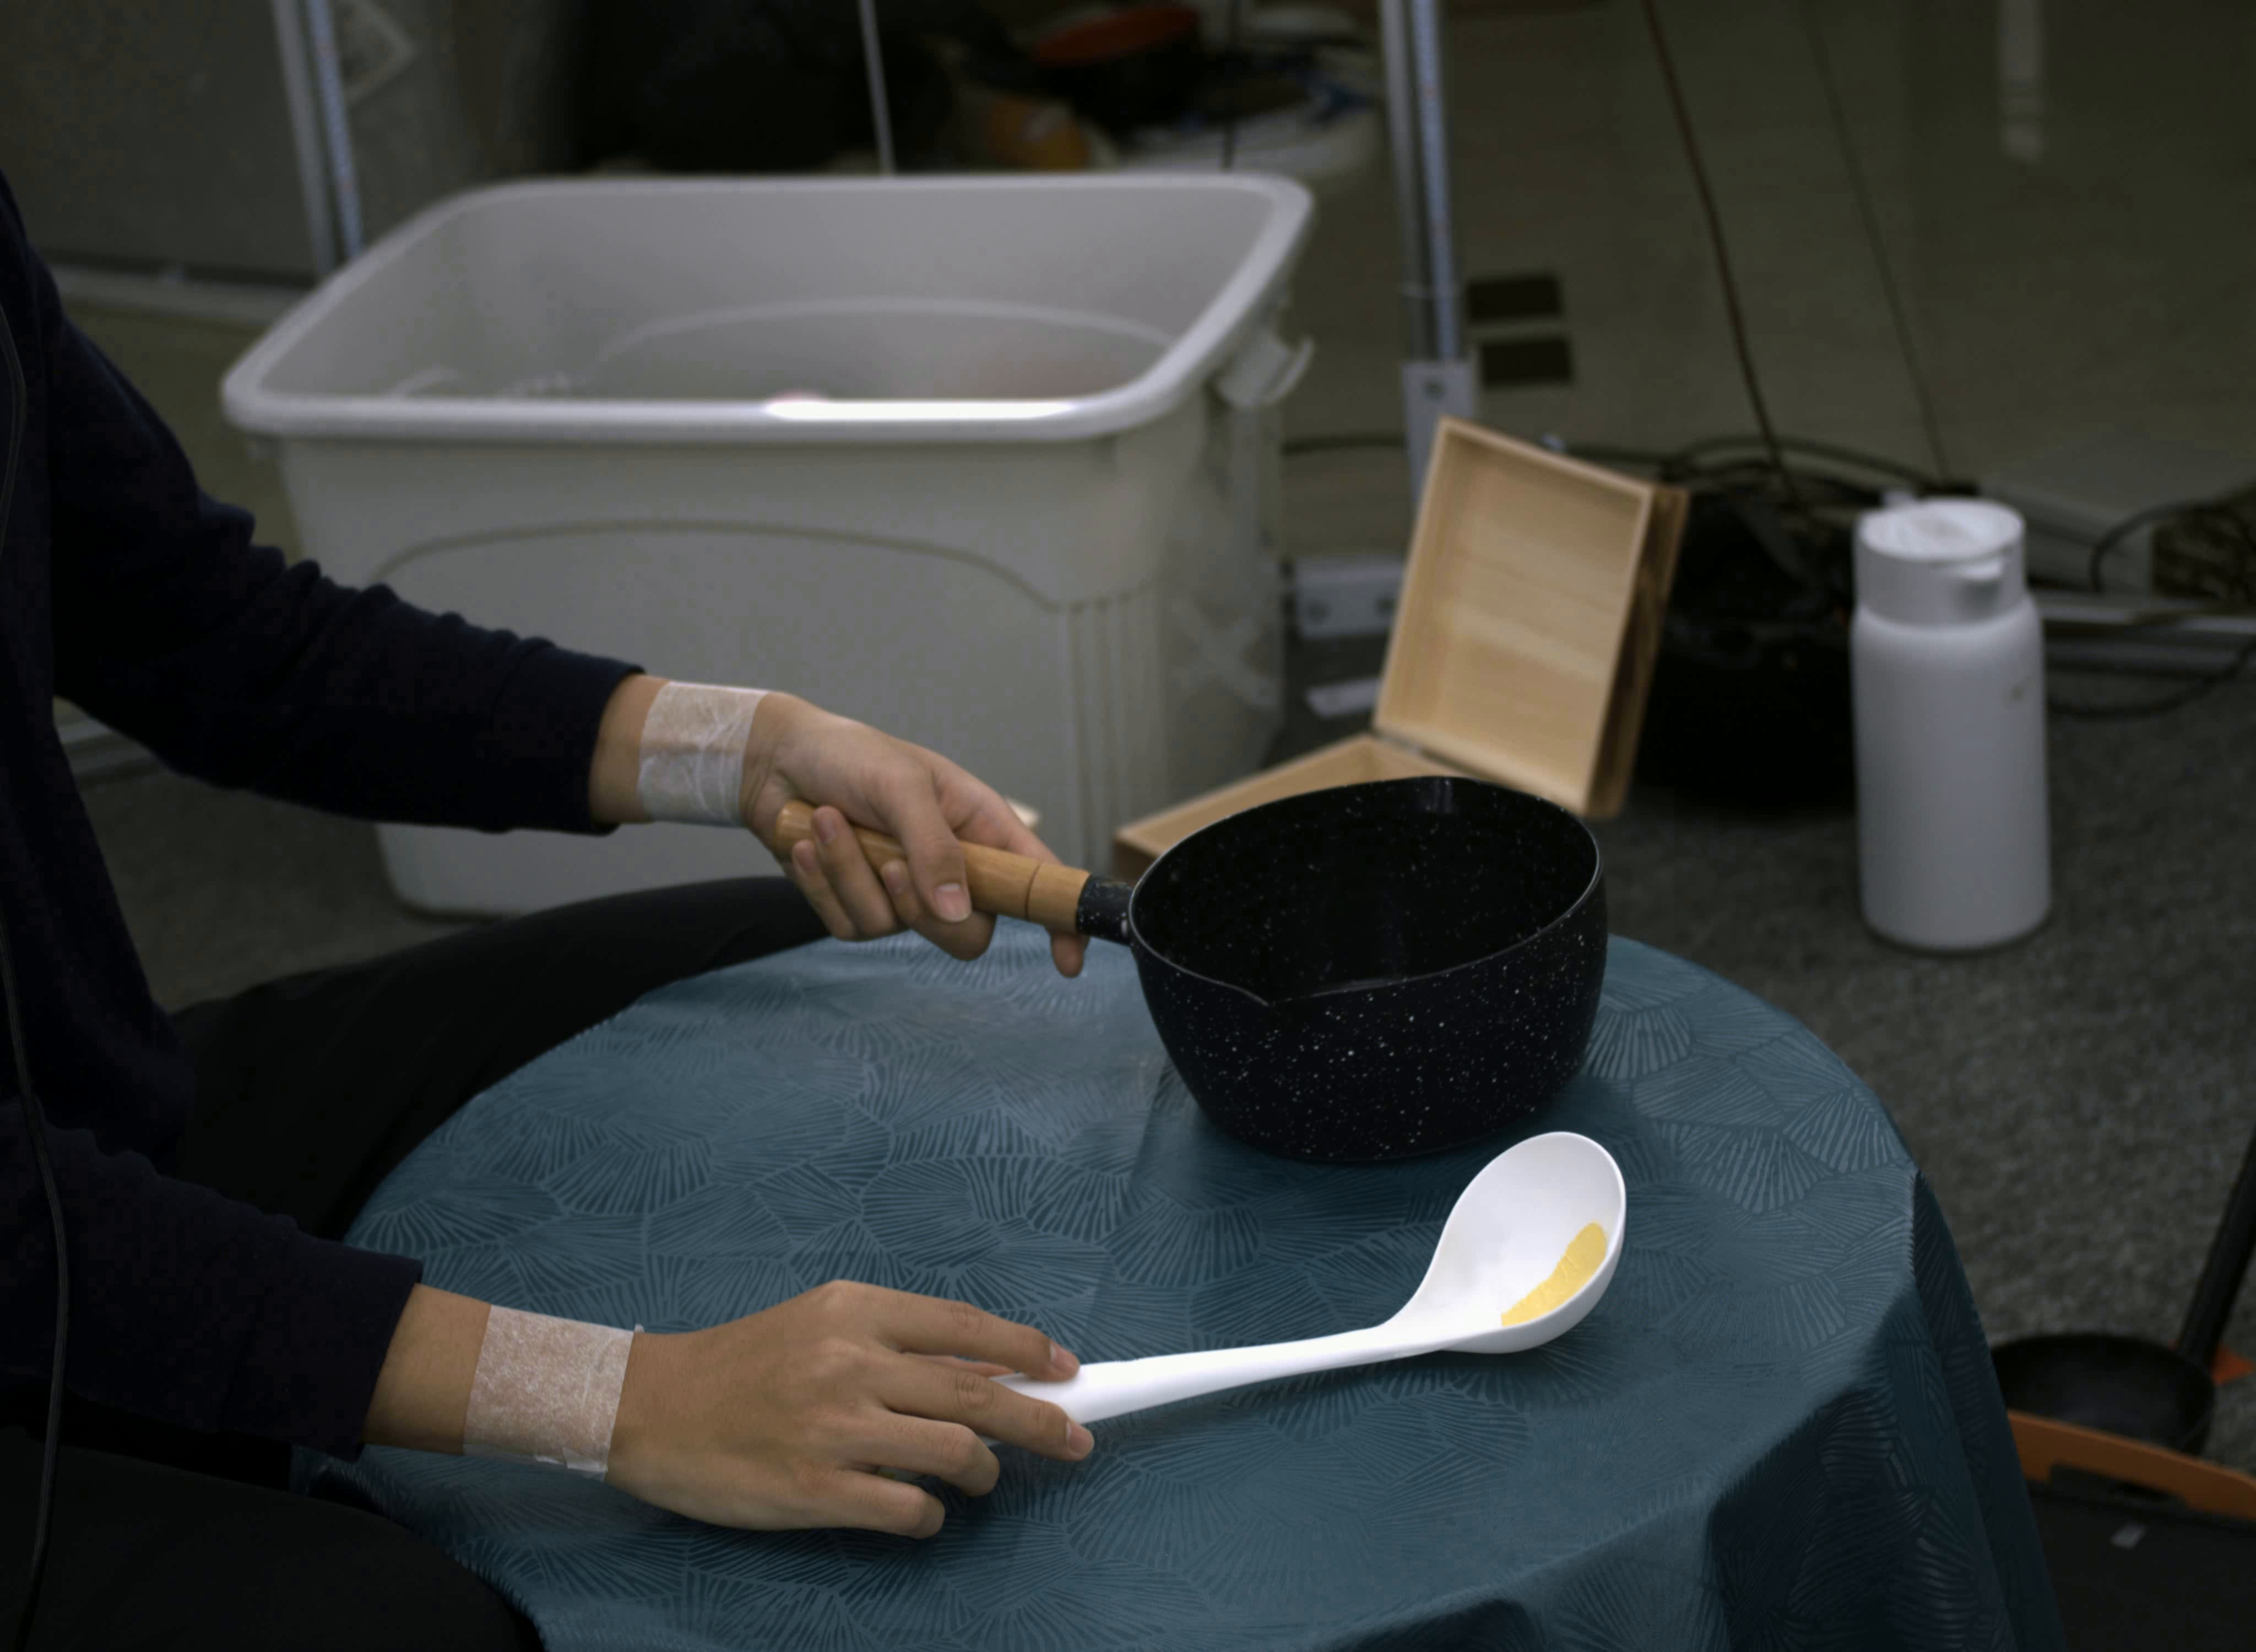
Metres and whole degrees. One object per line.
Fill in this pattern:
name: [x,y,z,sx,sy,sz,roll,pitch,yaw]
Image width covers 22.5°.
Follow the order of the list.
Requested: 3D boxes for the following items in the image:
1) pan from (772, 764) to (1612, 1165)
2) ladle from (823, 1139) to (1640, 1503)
pan: [0.021,0.046,2.213,0.342,0.110,0.204,3,28,21]
ladle: [0.036,0.177,1.976,0.292,0.071,0.088,-11,40,-12]
